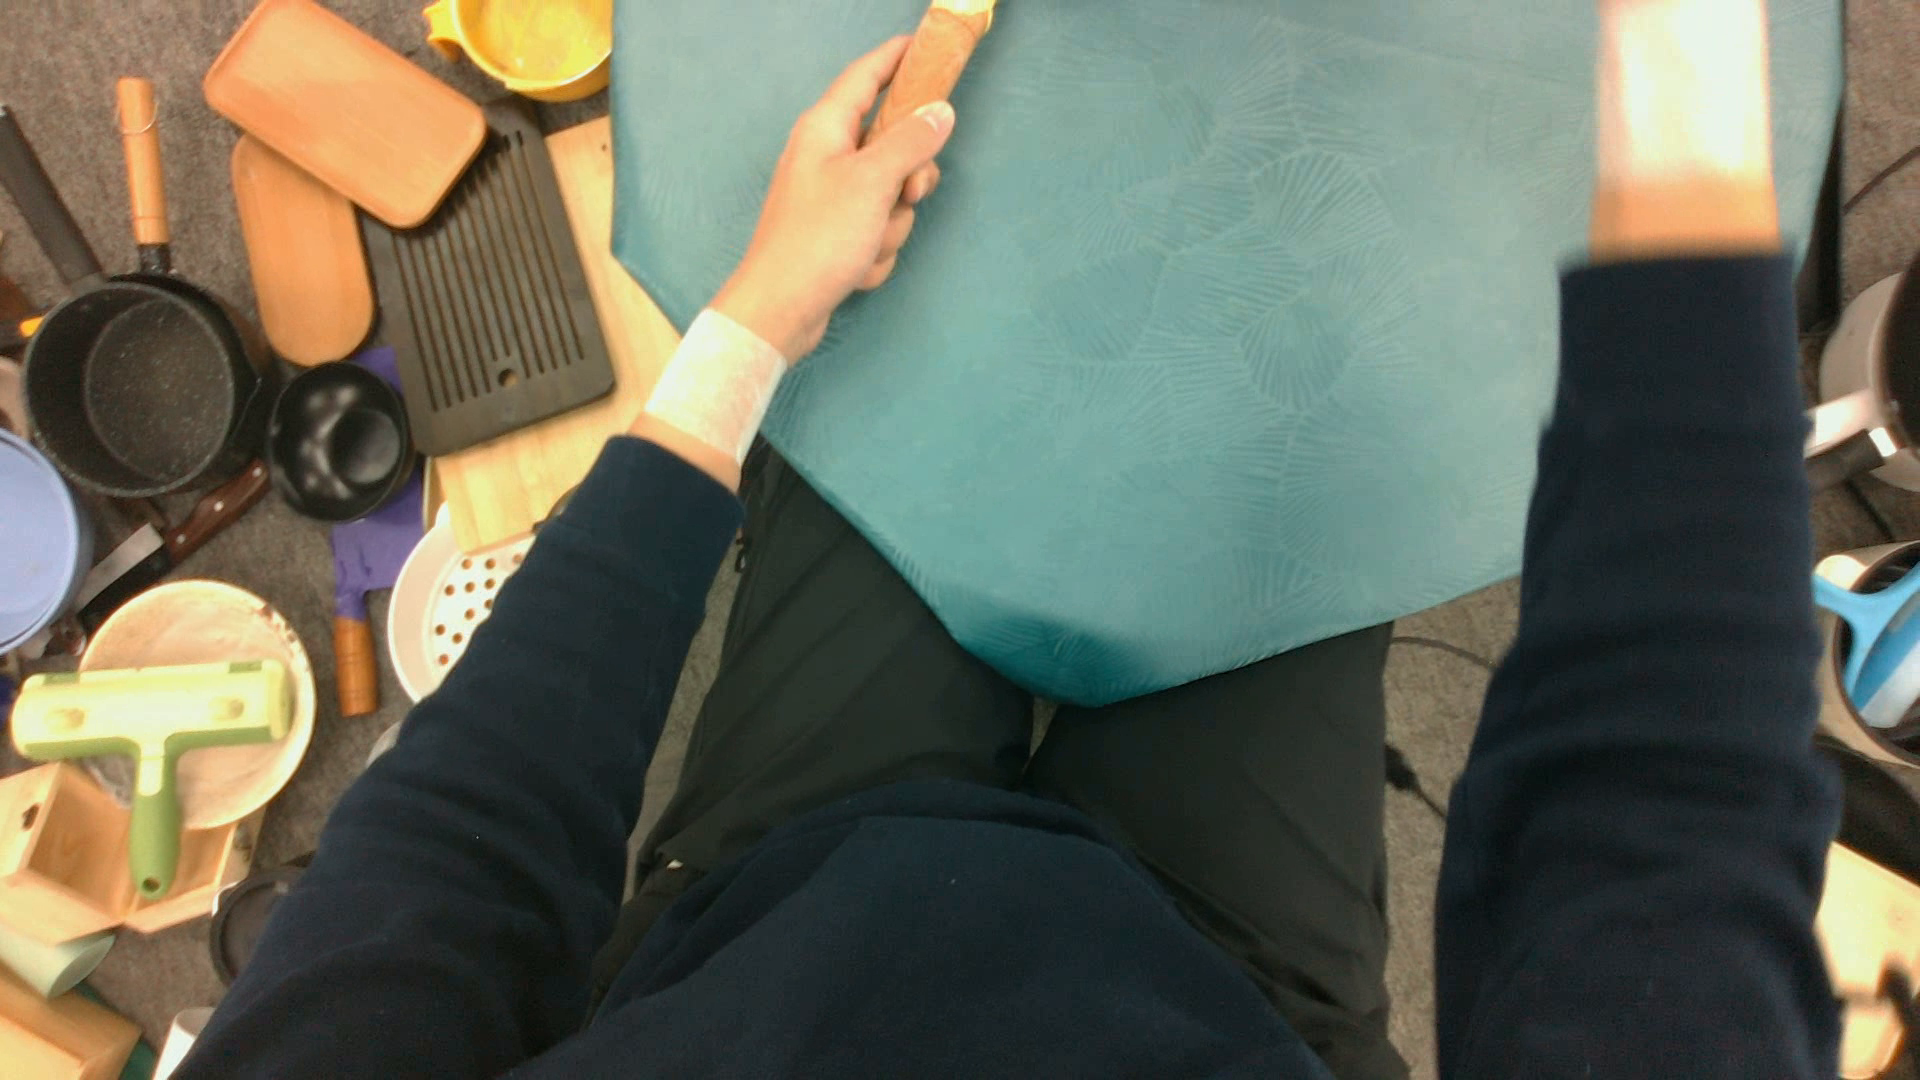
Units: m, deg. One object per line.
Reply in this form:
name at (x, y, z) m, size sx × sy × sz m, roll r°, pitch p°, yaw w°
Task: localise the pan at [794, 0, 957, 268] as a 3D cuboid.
pan at (-0.008, -0.276, 0.652) m, size 0.169 × 0.049 × 0.324 m, roll 23°, pitch 86°, yaw 0°
